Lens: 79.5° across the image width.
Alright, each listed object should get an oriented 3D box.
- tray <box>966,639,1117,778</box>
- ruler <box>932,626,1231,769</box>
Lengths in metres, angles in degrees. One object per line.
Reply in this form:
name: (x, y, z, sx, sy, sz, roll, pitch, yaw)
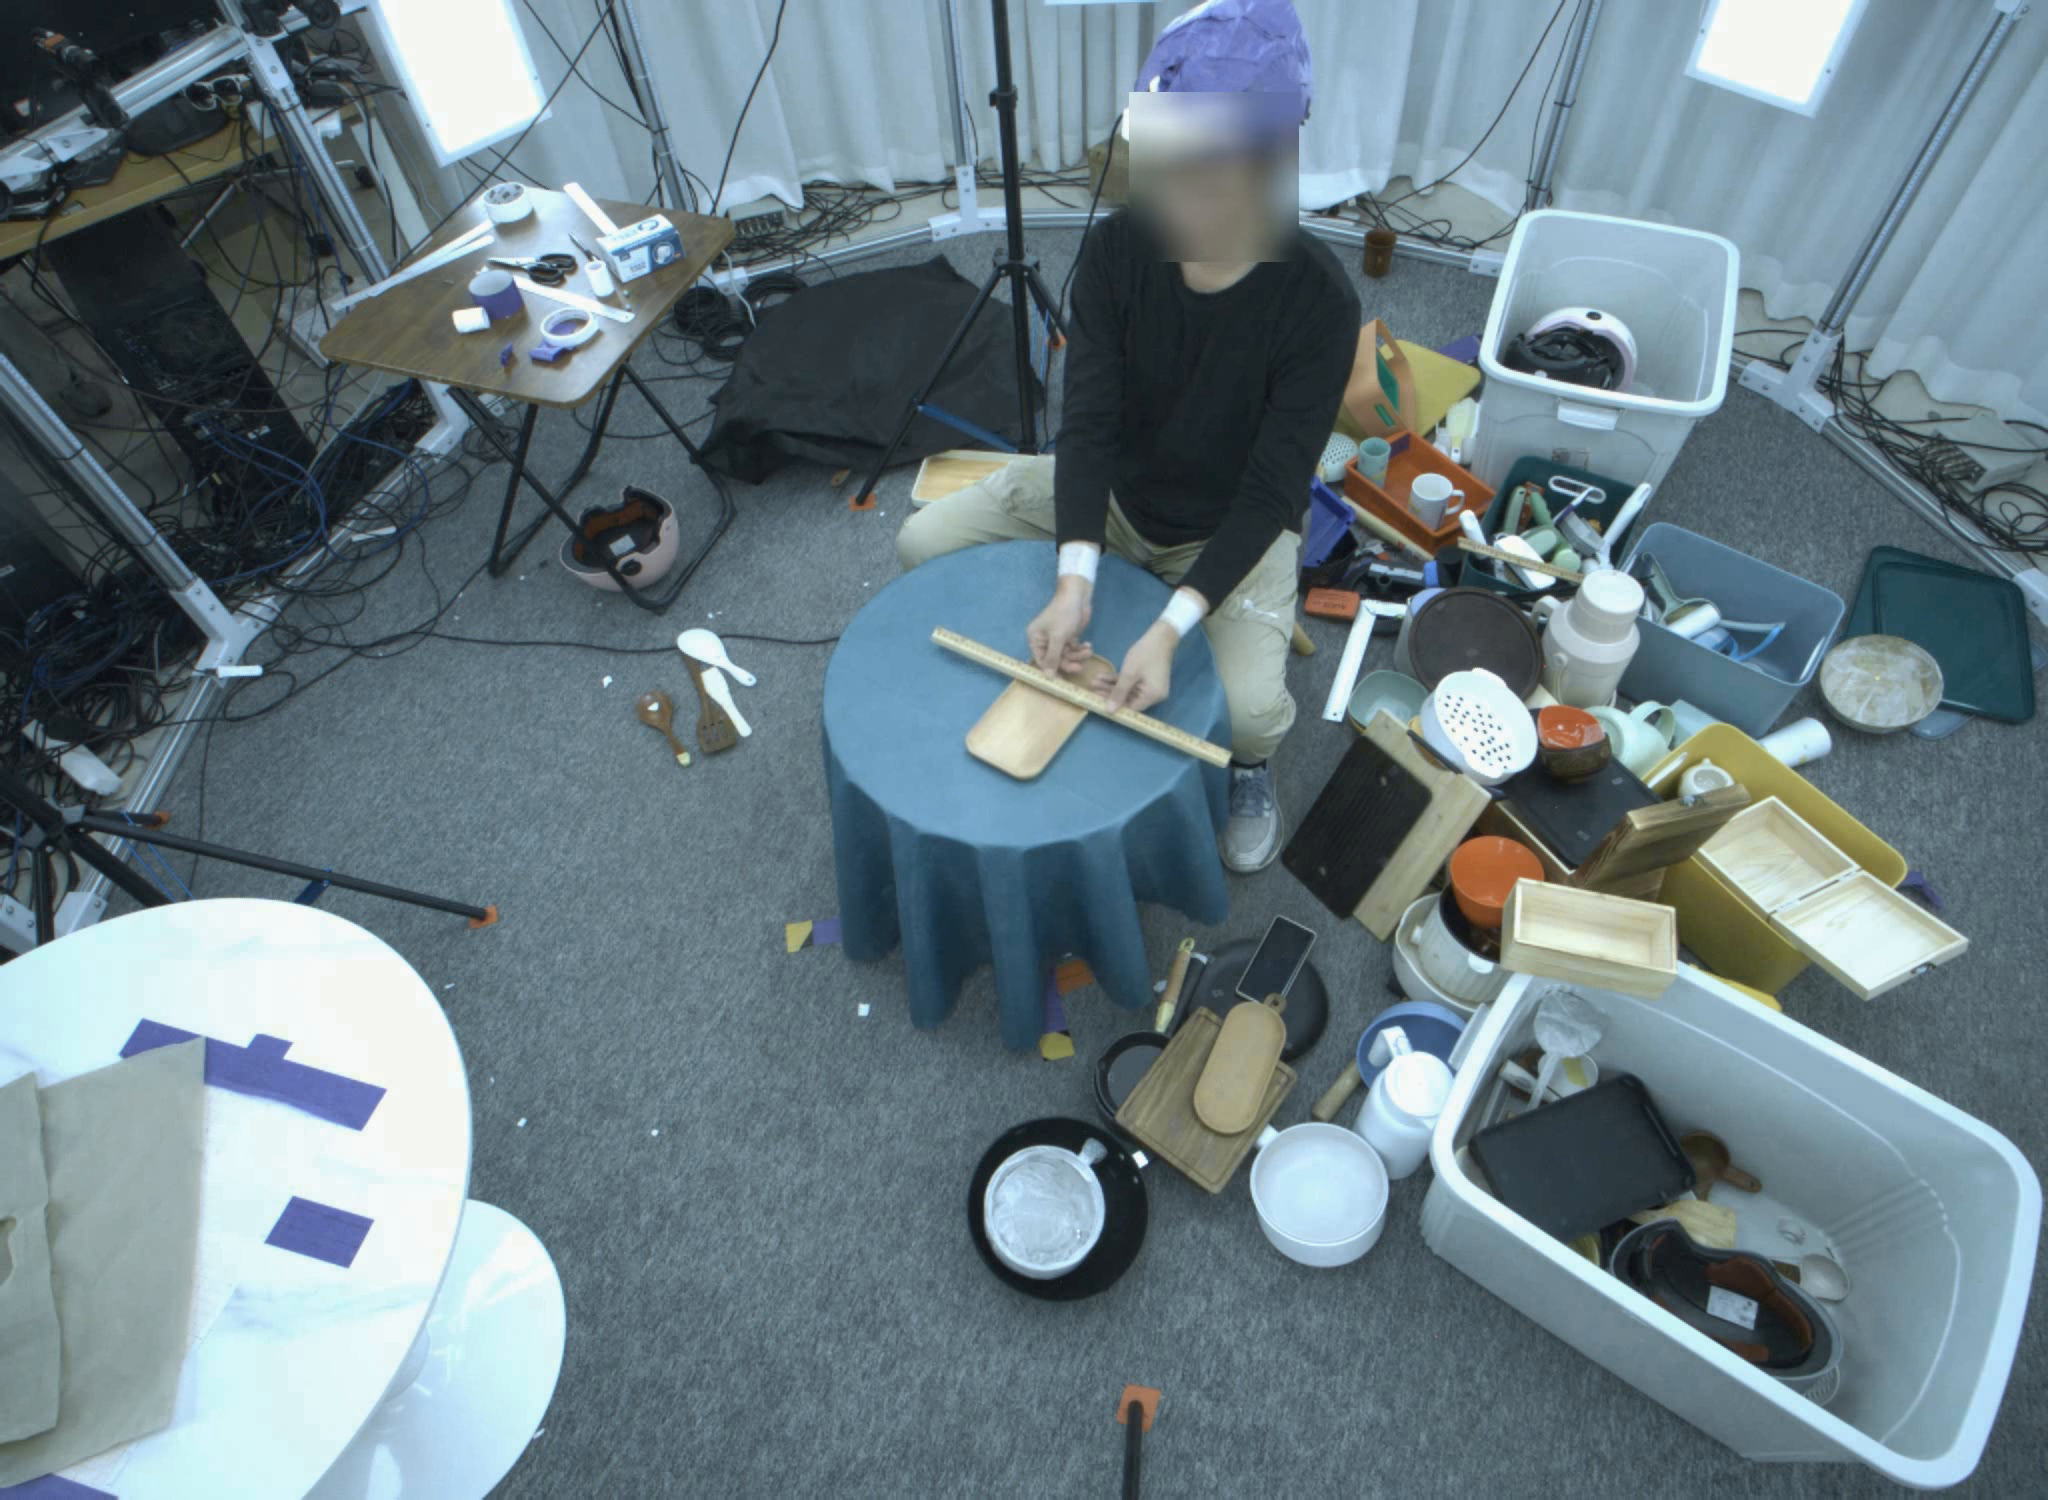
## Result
tray: (0.028, -0.063, 1.822, 0.129, 0.023, 0.252, 30, 60, 19)
ruler: (0.075, -0.083, 1.815, 0.493, 0.006, 0.027, 25, 87, 18)
